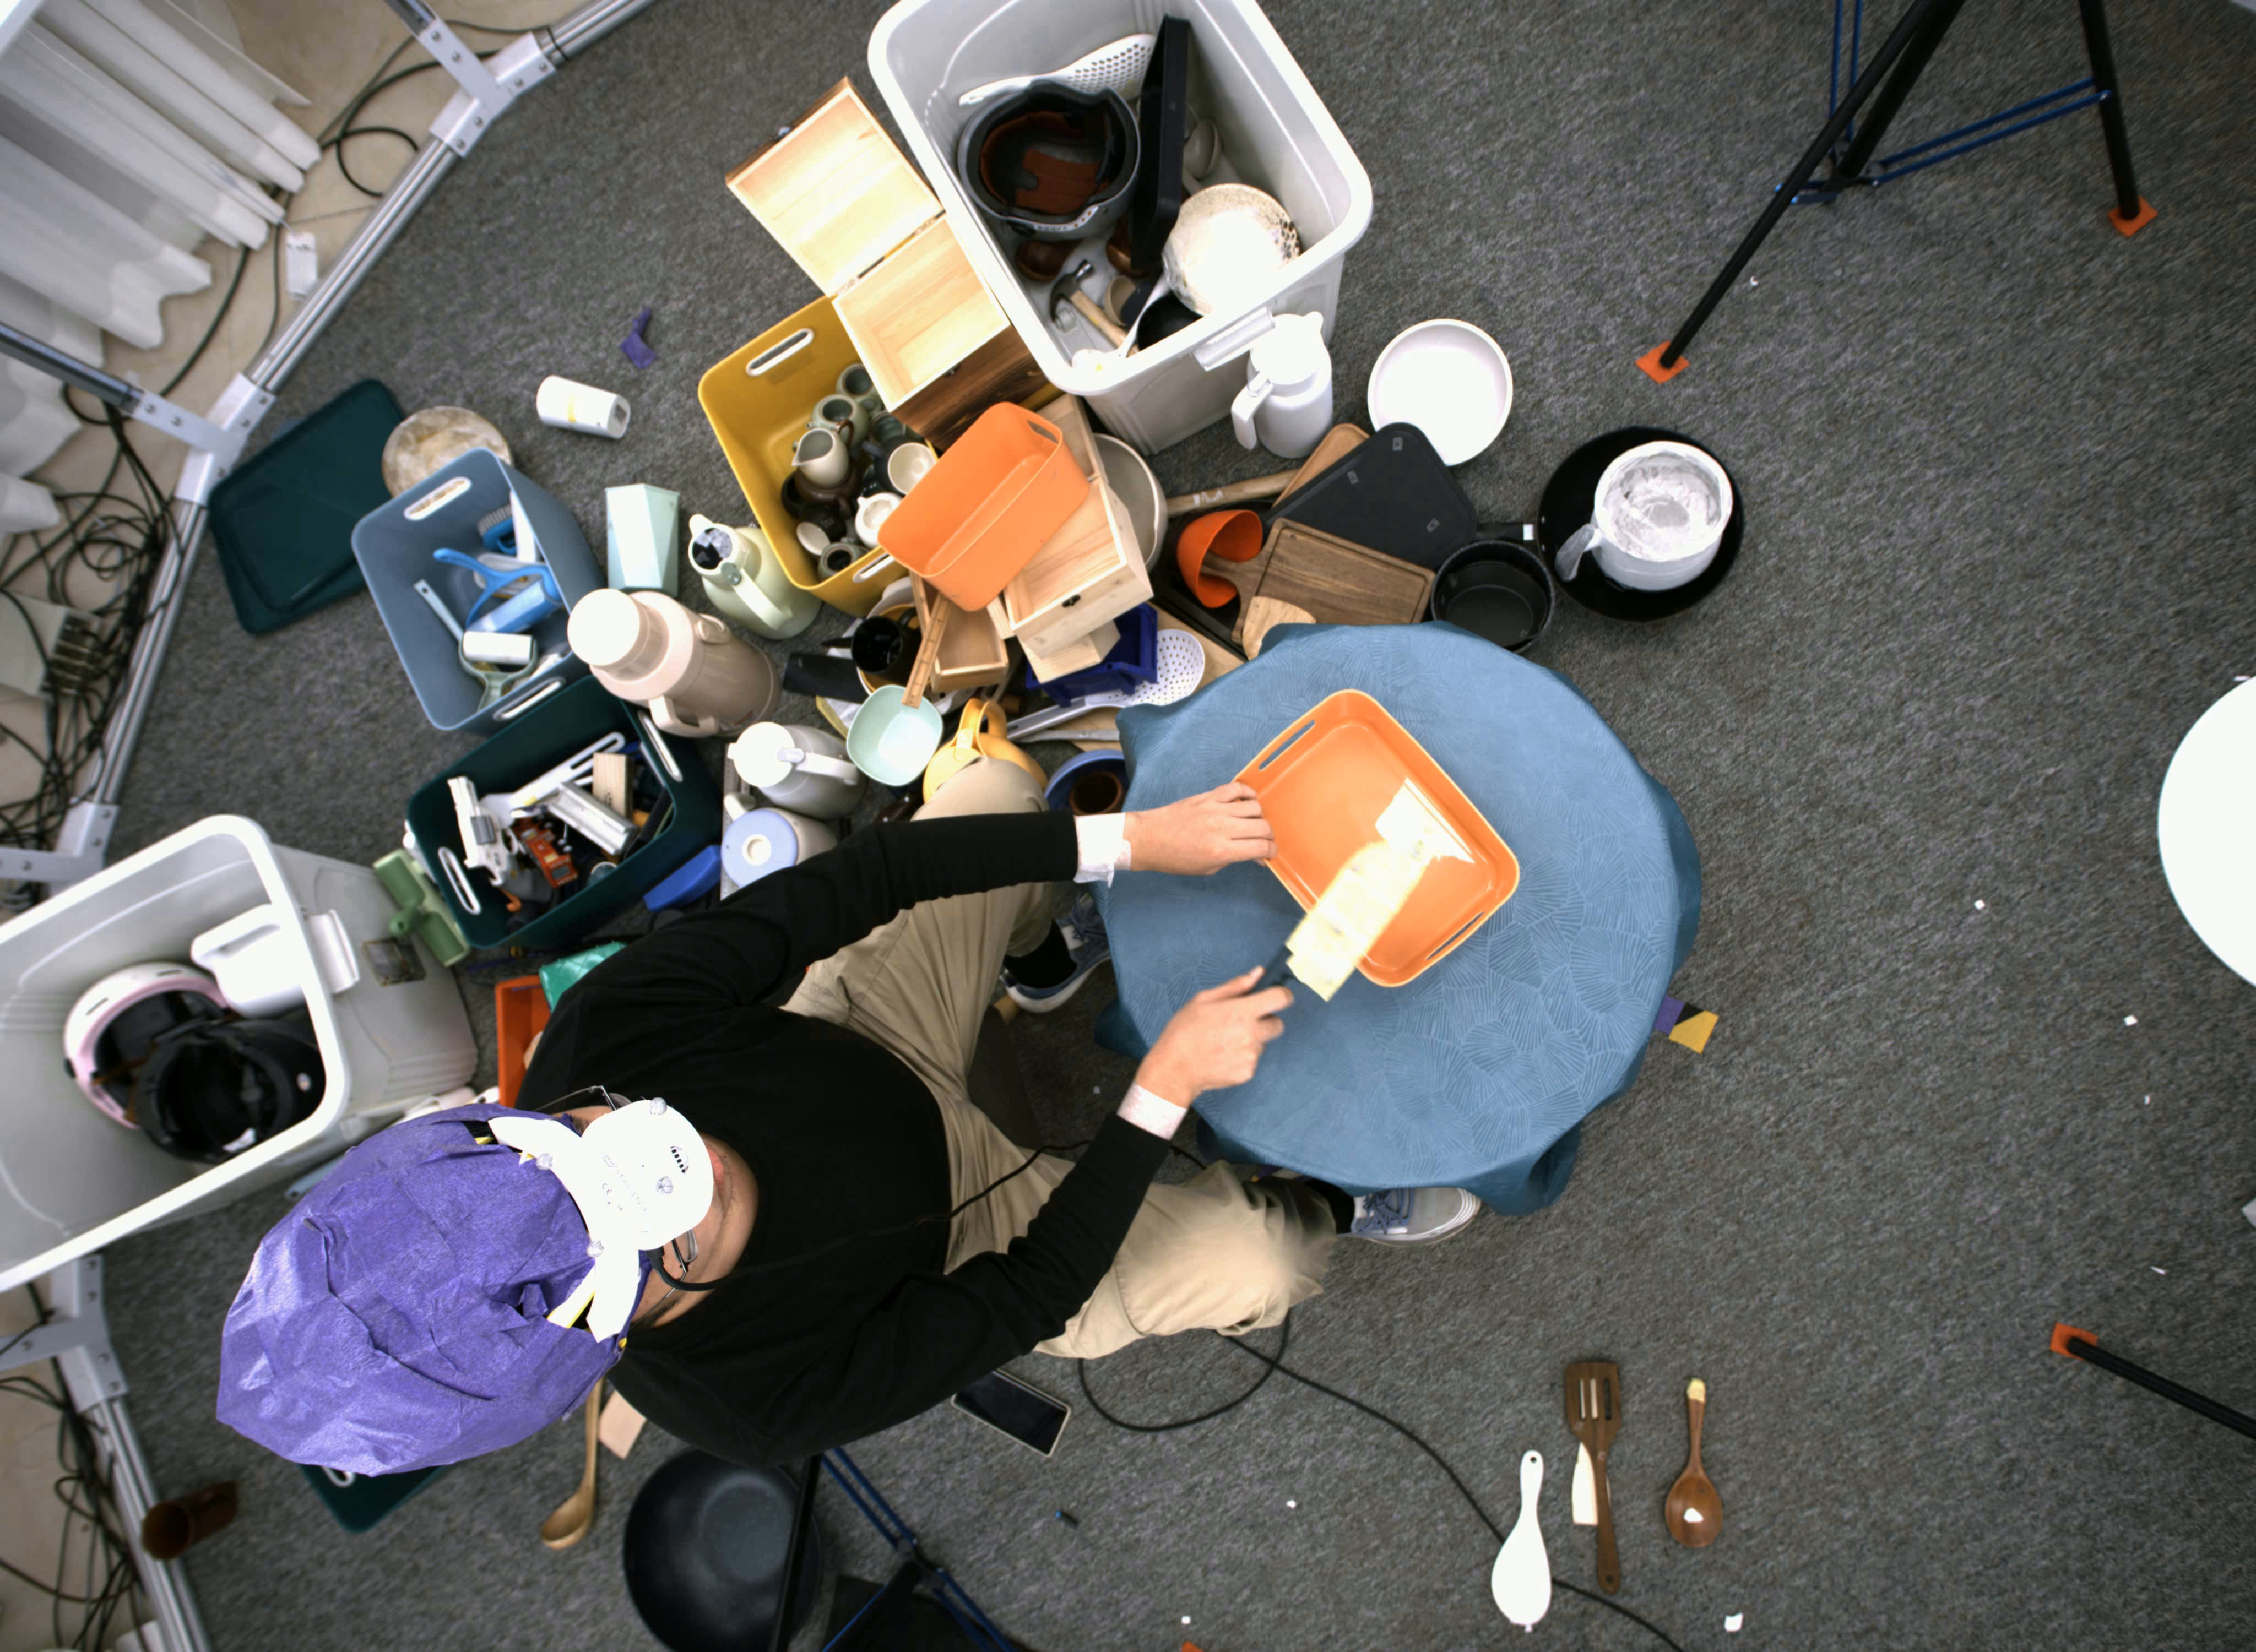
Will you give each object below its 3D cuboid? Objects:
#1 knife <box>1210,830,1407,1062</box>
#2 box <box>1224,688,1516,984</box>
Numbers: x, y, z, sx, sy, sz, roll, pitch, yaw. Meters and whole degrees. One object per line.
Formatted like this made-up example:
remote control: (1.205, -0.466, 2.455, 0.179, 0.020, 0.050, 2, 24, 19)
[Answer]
knife: (0.175, 0.119, 1.333, 0.292, 0.027, 0.080, -54, 47, 13)
box: (0.245, 0.014, 1.415, 0.200, 0.102, 0.272, -41, 81, 5)
